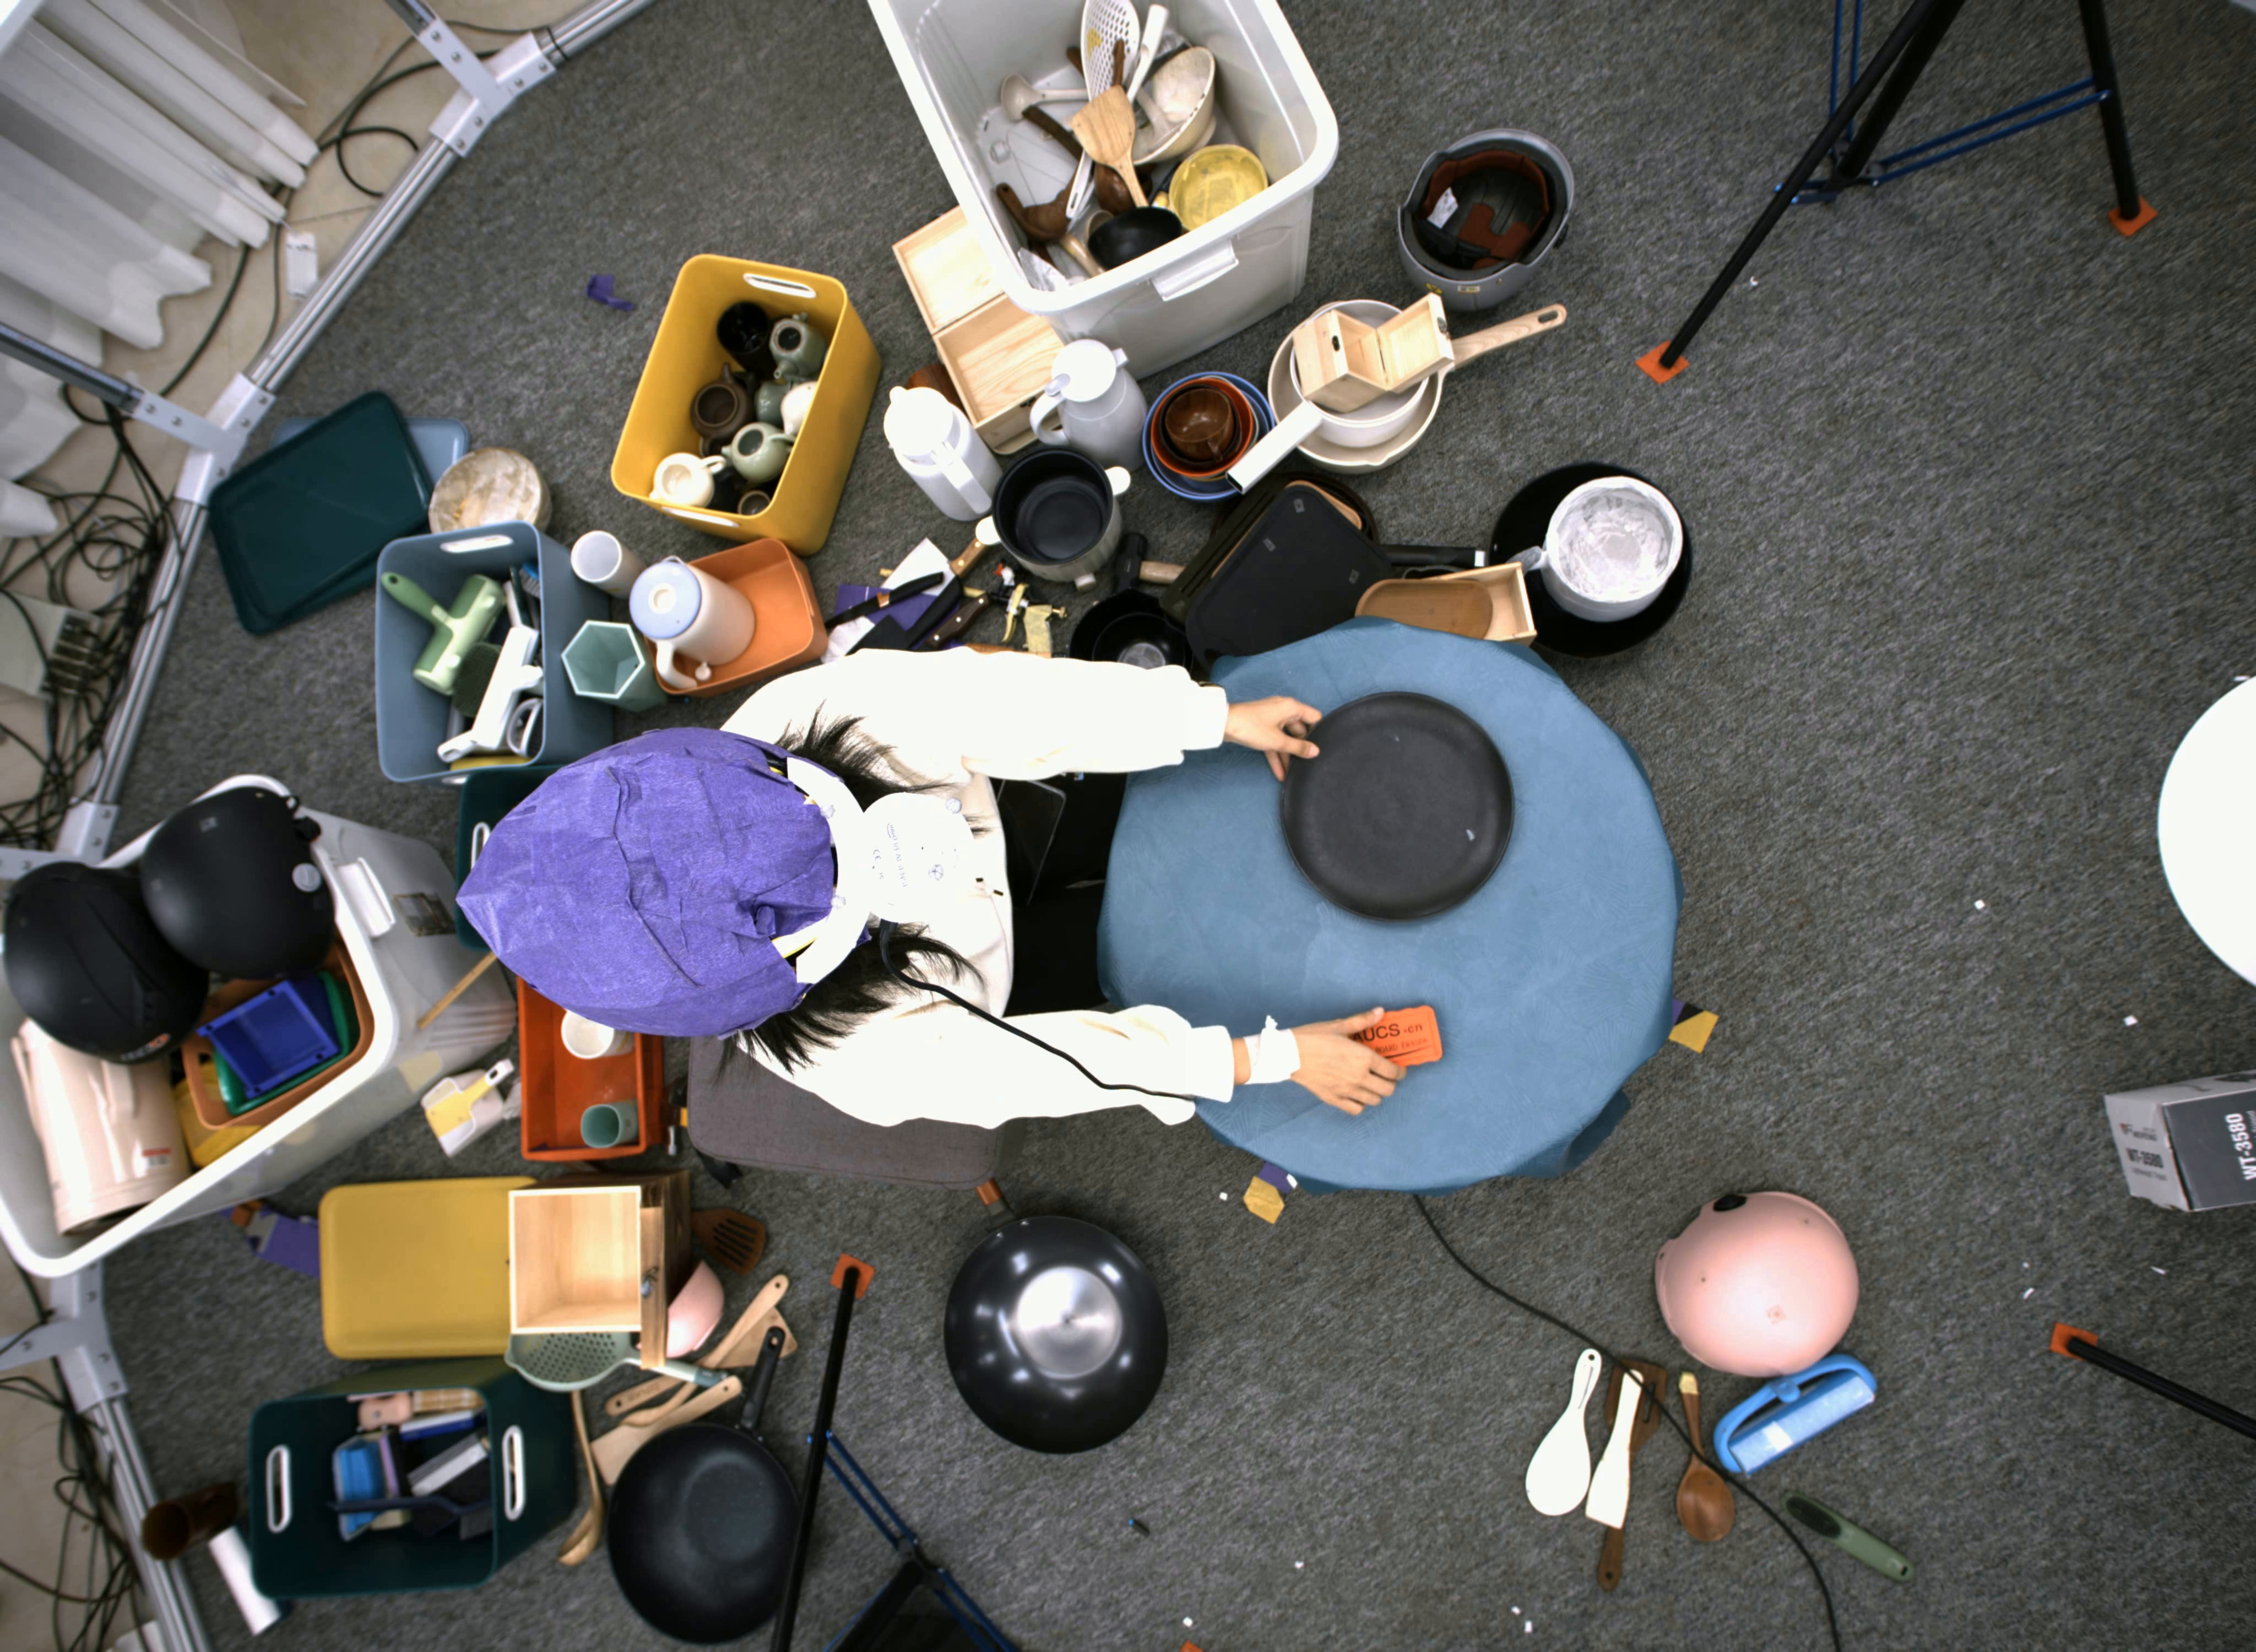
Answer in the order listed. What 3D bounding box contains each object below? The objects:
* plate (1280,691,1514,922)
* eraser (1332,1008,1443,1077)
[{"bbox_3d":[0.282,-0.022,1.451,0.245,0.023,0.243,-1,87,11],"label":"plate"},{"bbox_3d":[0.269,0.223,1.436,0.108,0.023,0.058,-11,82,7],"label":"eraser"}]
